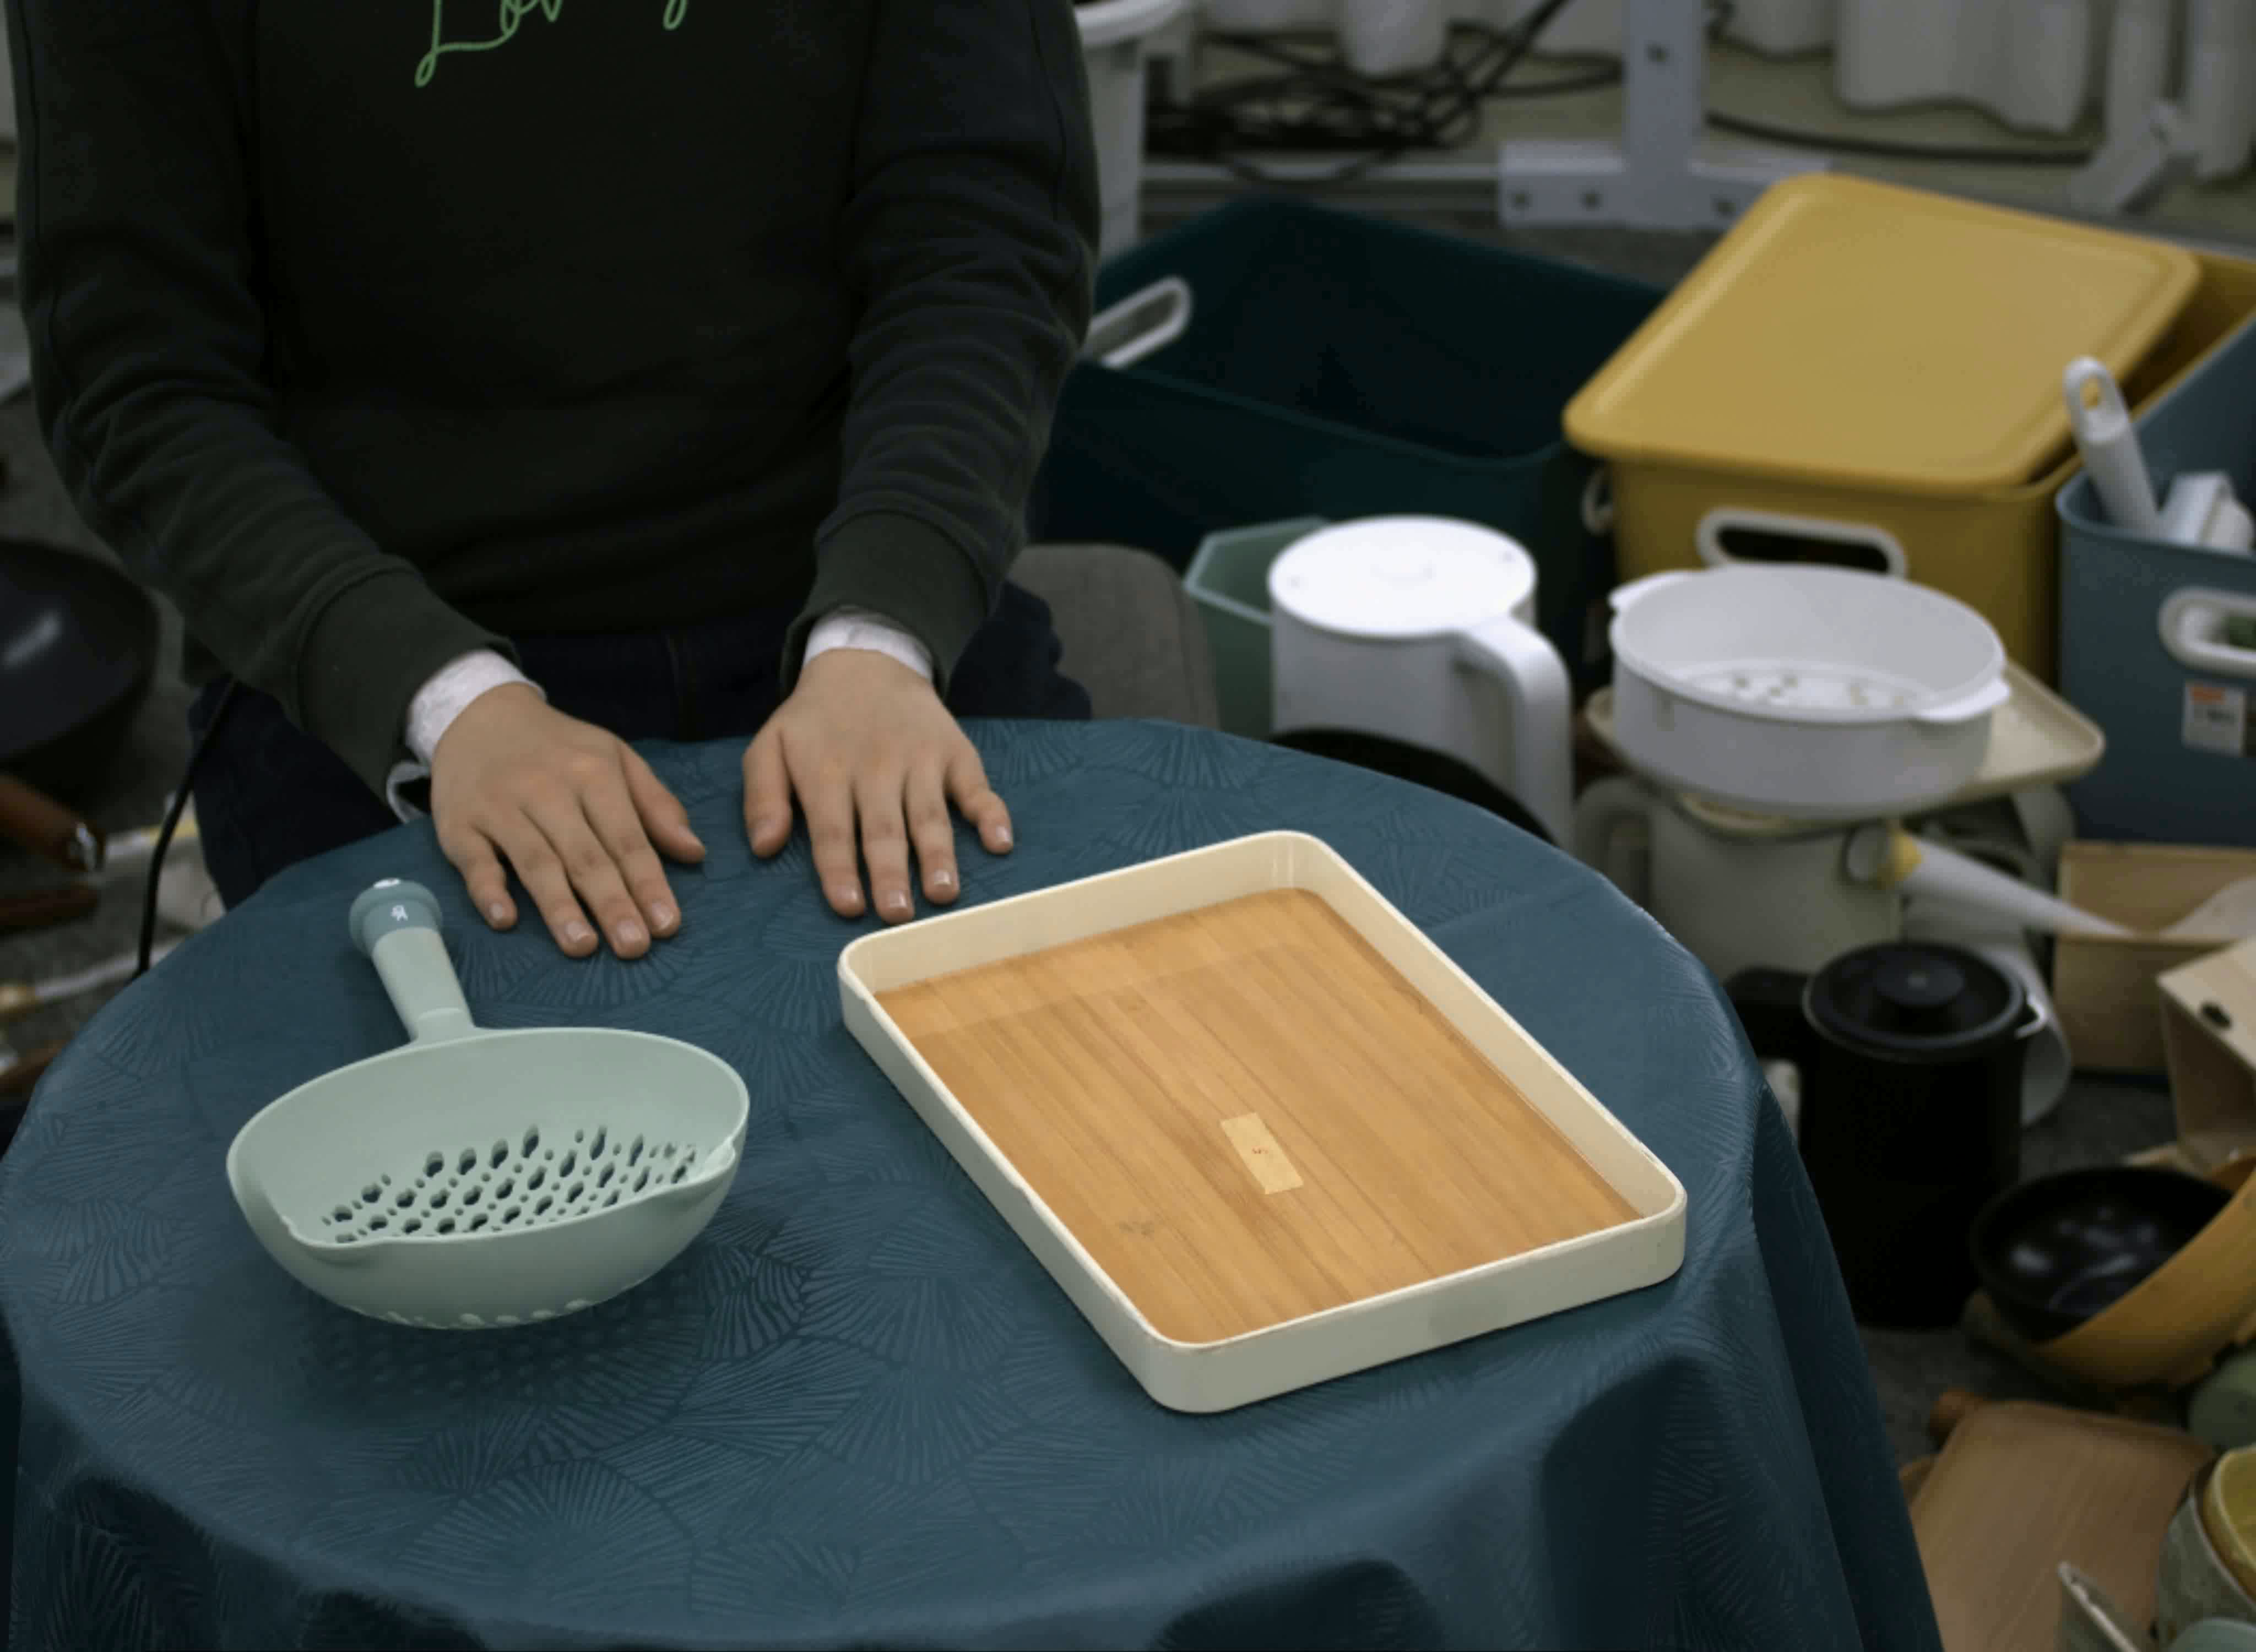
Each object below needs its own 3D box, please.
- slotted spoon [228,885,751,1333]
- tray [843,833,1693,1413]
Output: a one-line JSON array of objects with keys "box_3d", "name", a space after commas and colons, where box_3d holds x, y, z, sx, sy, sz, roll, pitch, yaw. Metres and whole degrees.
[{"box_3d": [-0.228, 0.080, 1.896, 0.169, 0.074, 0.362, -9, 28, -12], "name": "slotted spoon"}, {"box_3d": [0.041, 0.093, 1.883, 0.192, 0.027, 0.302, -14, 29, -20], "name": "tray"}]
